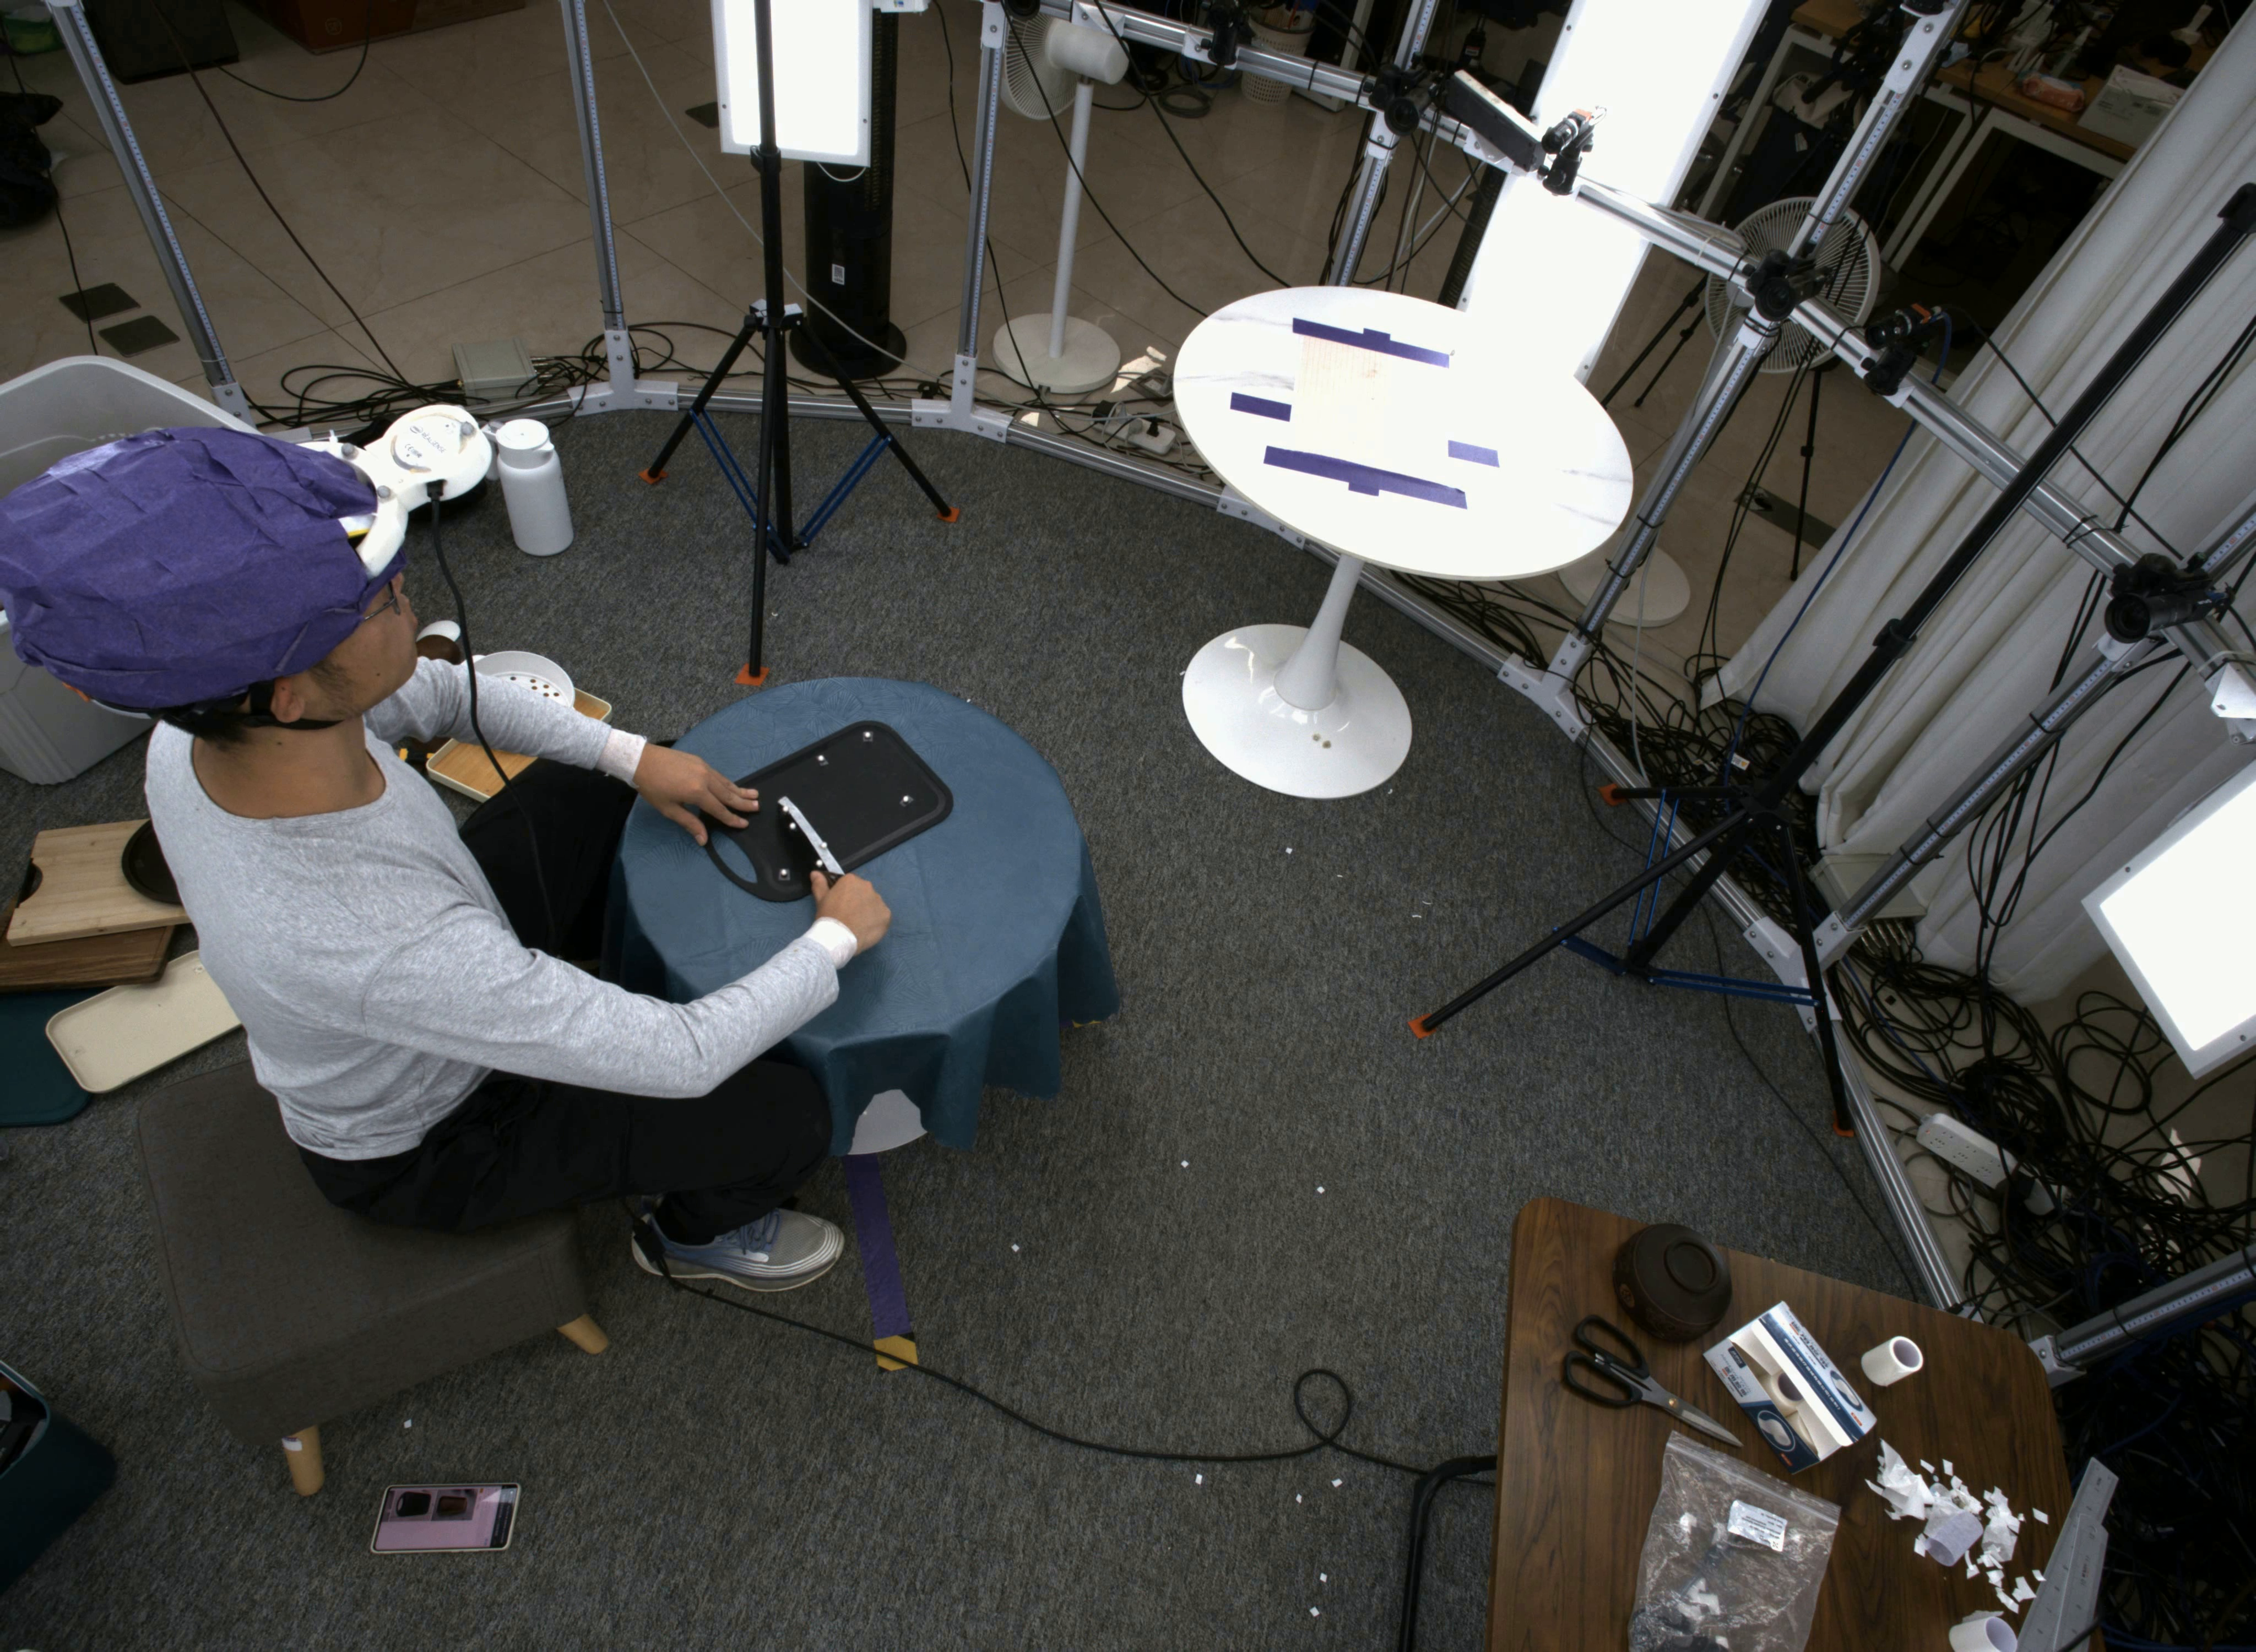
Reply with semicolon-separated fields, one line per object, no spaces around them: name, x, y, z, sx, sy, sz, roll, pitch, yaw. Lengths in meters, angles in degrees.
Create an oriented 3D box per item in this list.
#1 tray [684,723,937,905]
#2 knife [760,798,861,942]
tray;-0.430;-0.021;1.745;0.326;0.010;0.206;-32;67;-31
knife;-0.409;0.048;1.658;0.051;0.020;0.279;9;32;-48
